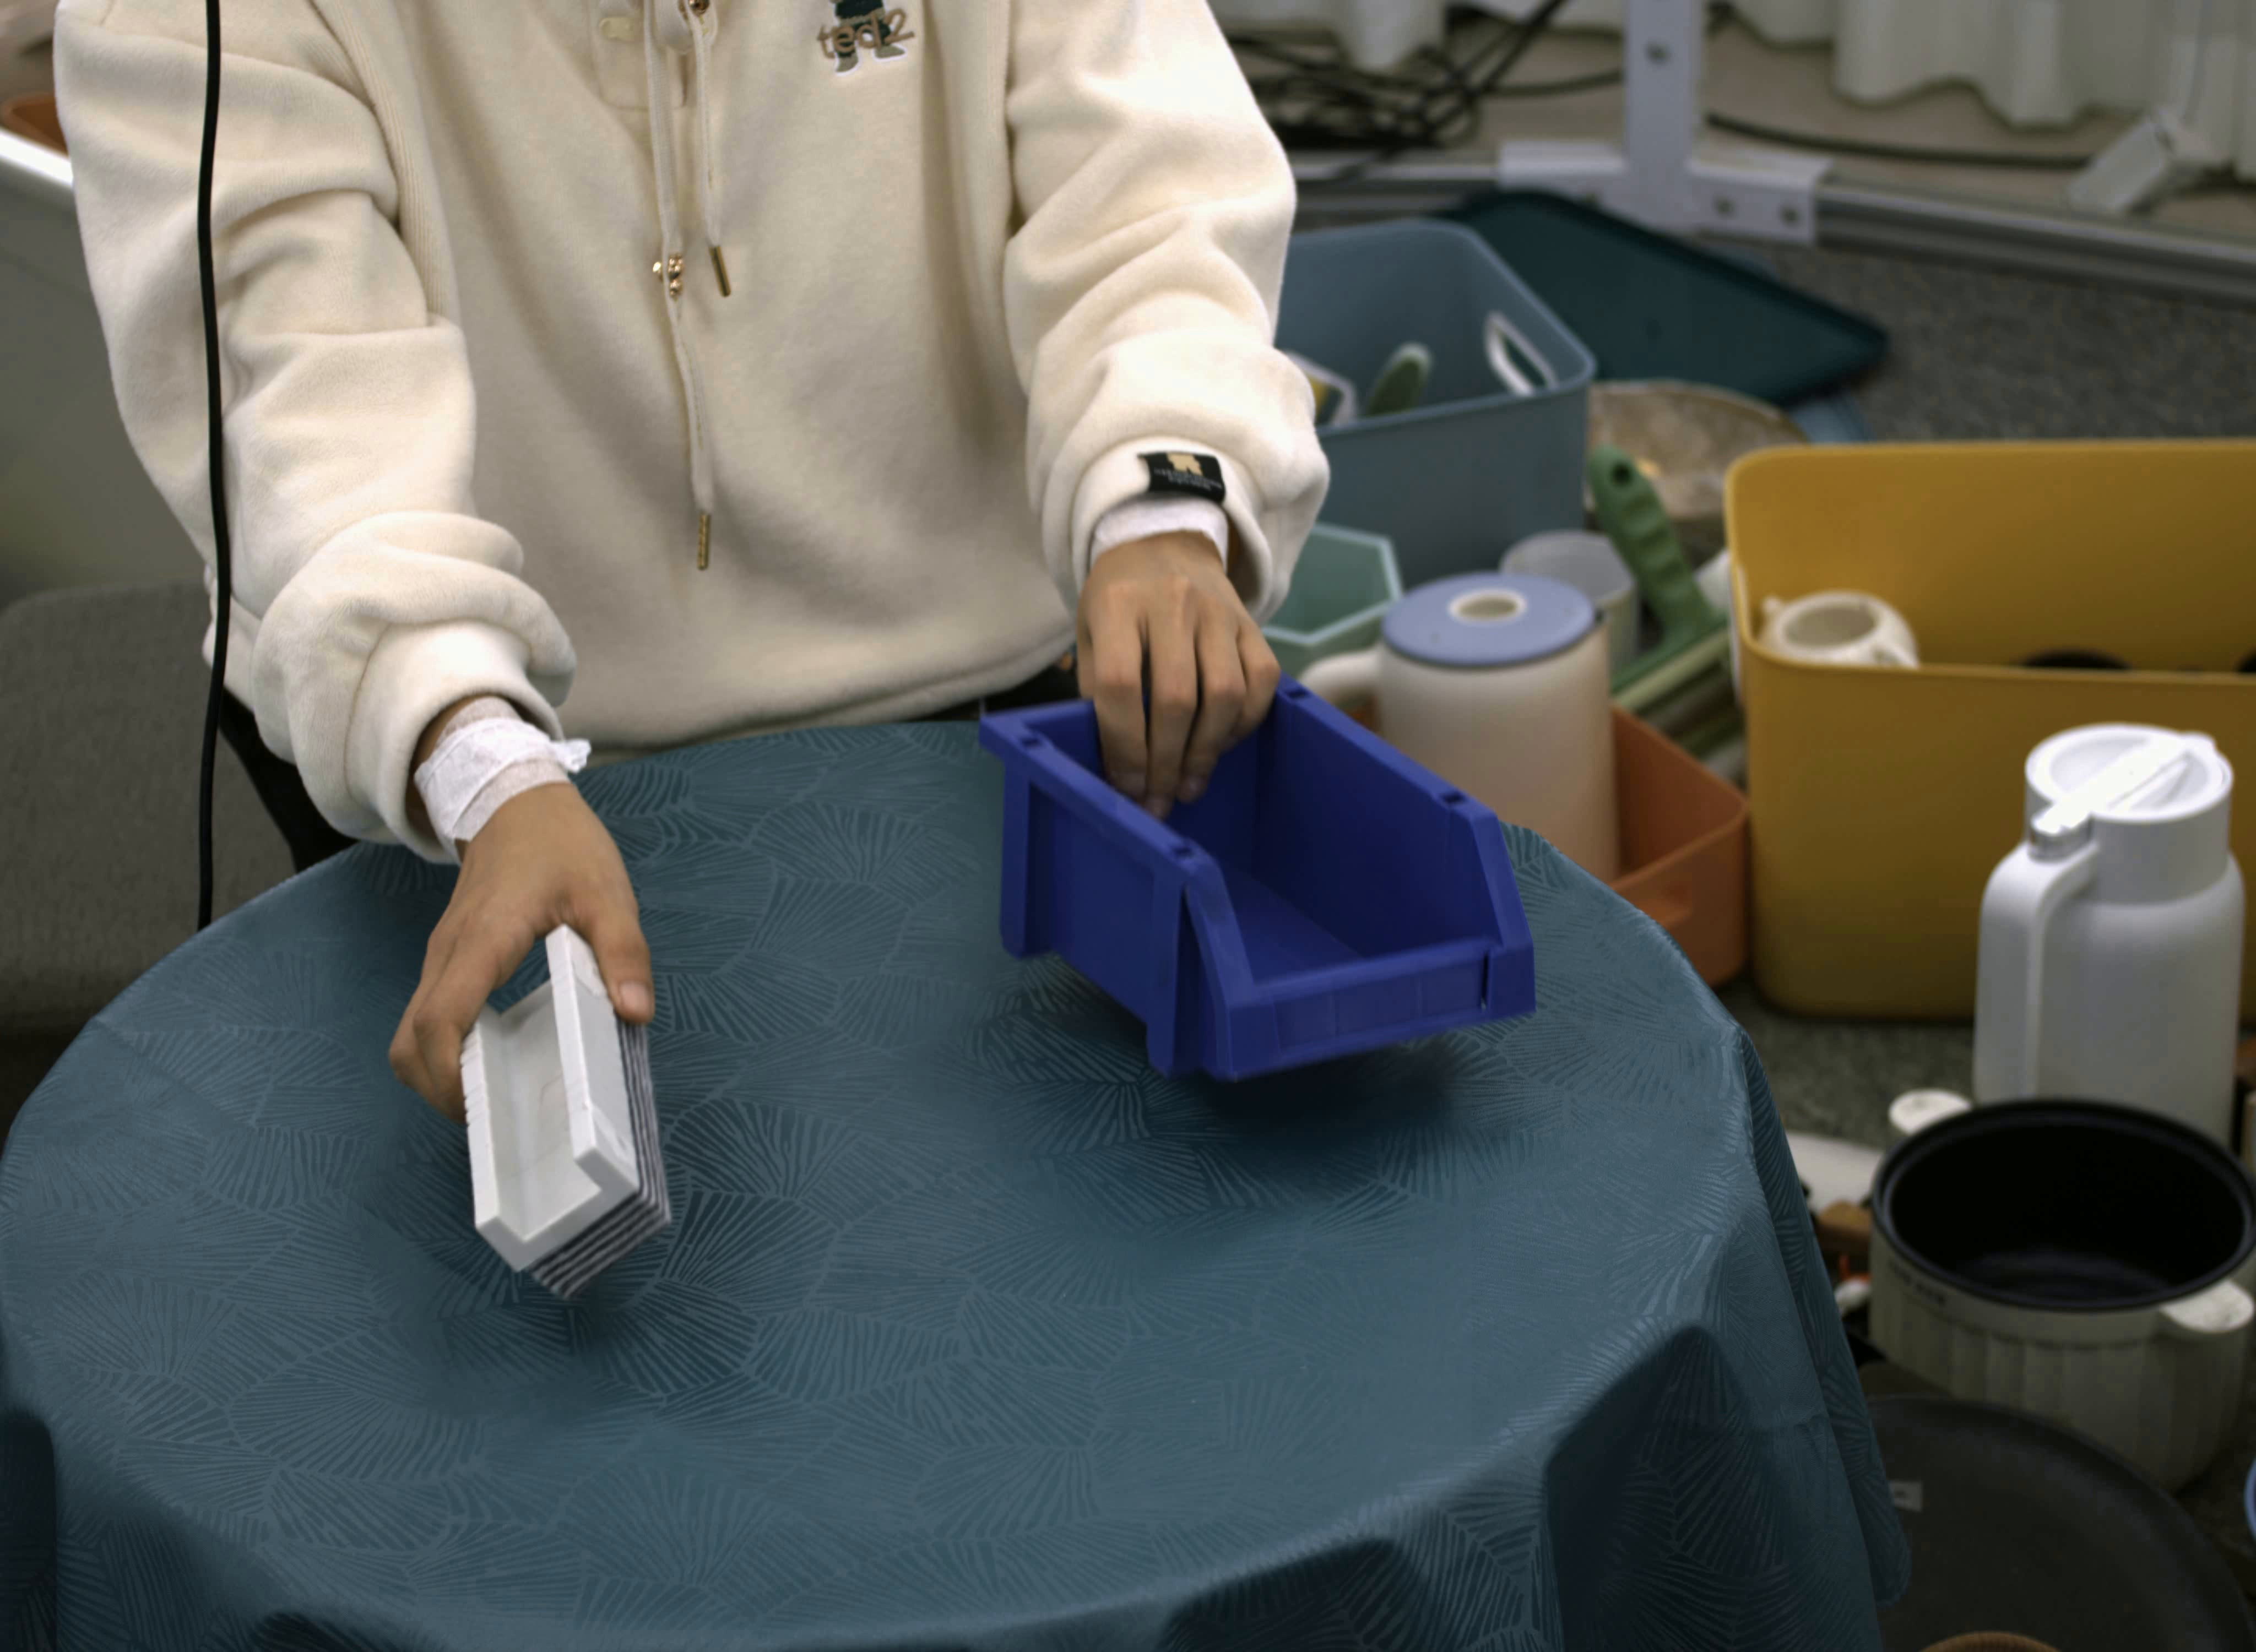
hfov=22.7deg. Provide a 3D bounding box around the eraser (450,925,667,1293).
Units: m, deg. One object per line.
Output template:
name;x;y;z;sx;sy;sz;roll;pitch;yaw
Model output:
eraser;-0.184;0.091;1.822;0.049;0.046;0.136;-40;29;11

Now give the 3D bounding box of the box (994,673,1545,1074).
box;0.048;0.020;1.920;0.125;0.081;0.180;-9;23;-27
